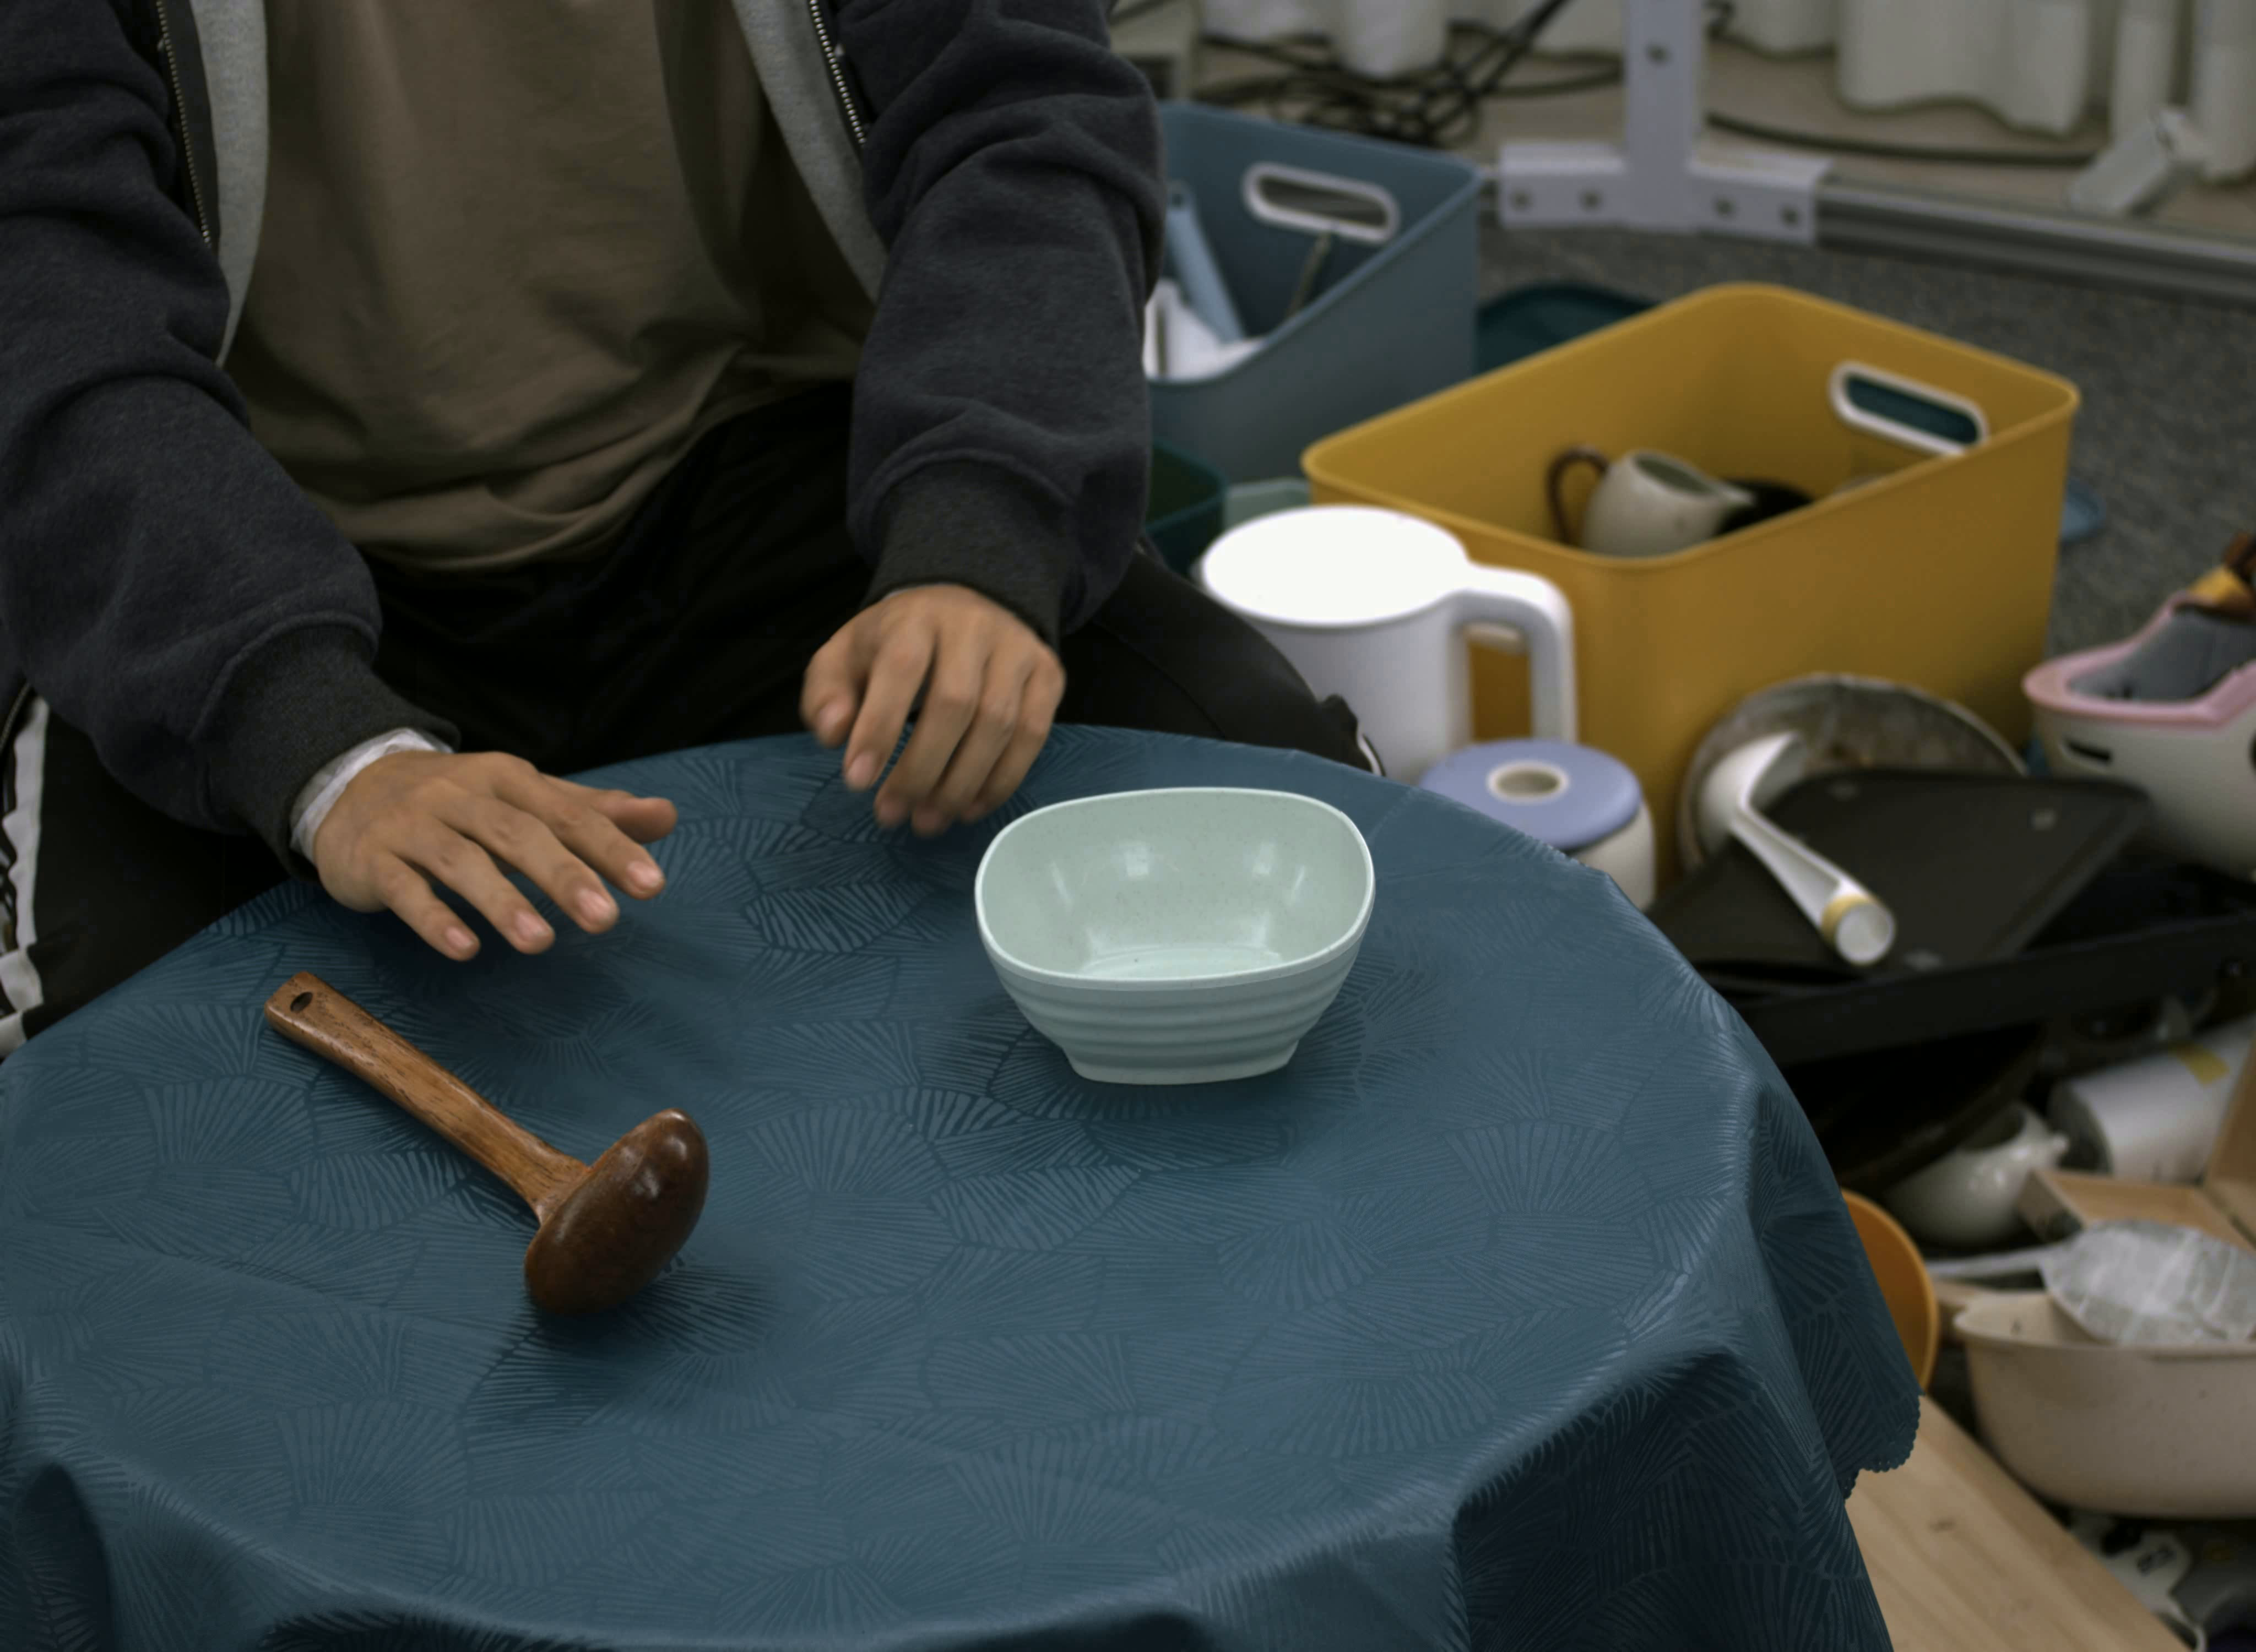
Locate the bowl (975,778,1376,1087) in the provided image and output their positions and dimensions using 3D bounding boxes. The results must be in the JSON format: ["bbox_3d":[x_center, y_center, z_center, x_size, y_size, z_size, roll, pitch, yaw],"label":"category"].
[{"bbox_3d":[0.018,0.043,1.949,0.151,0.058,0.154,-2,30,2],"label":"bowl"}]

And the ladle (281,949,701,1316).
[{"bbox_3d":[-0.230,0.086,1.873,0.082,0.076,0.275,-43,42,-14],"label":"ladle"}]
